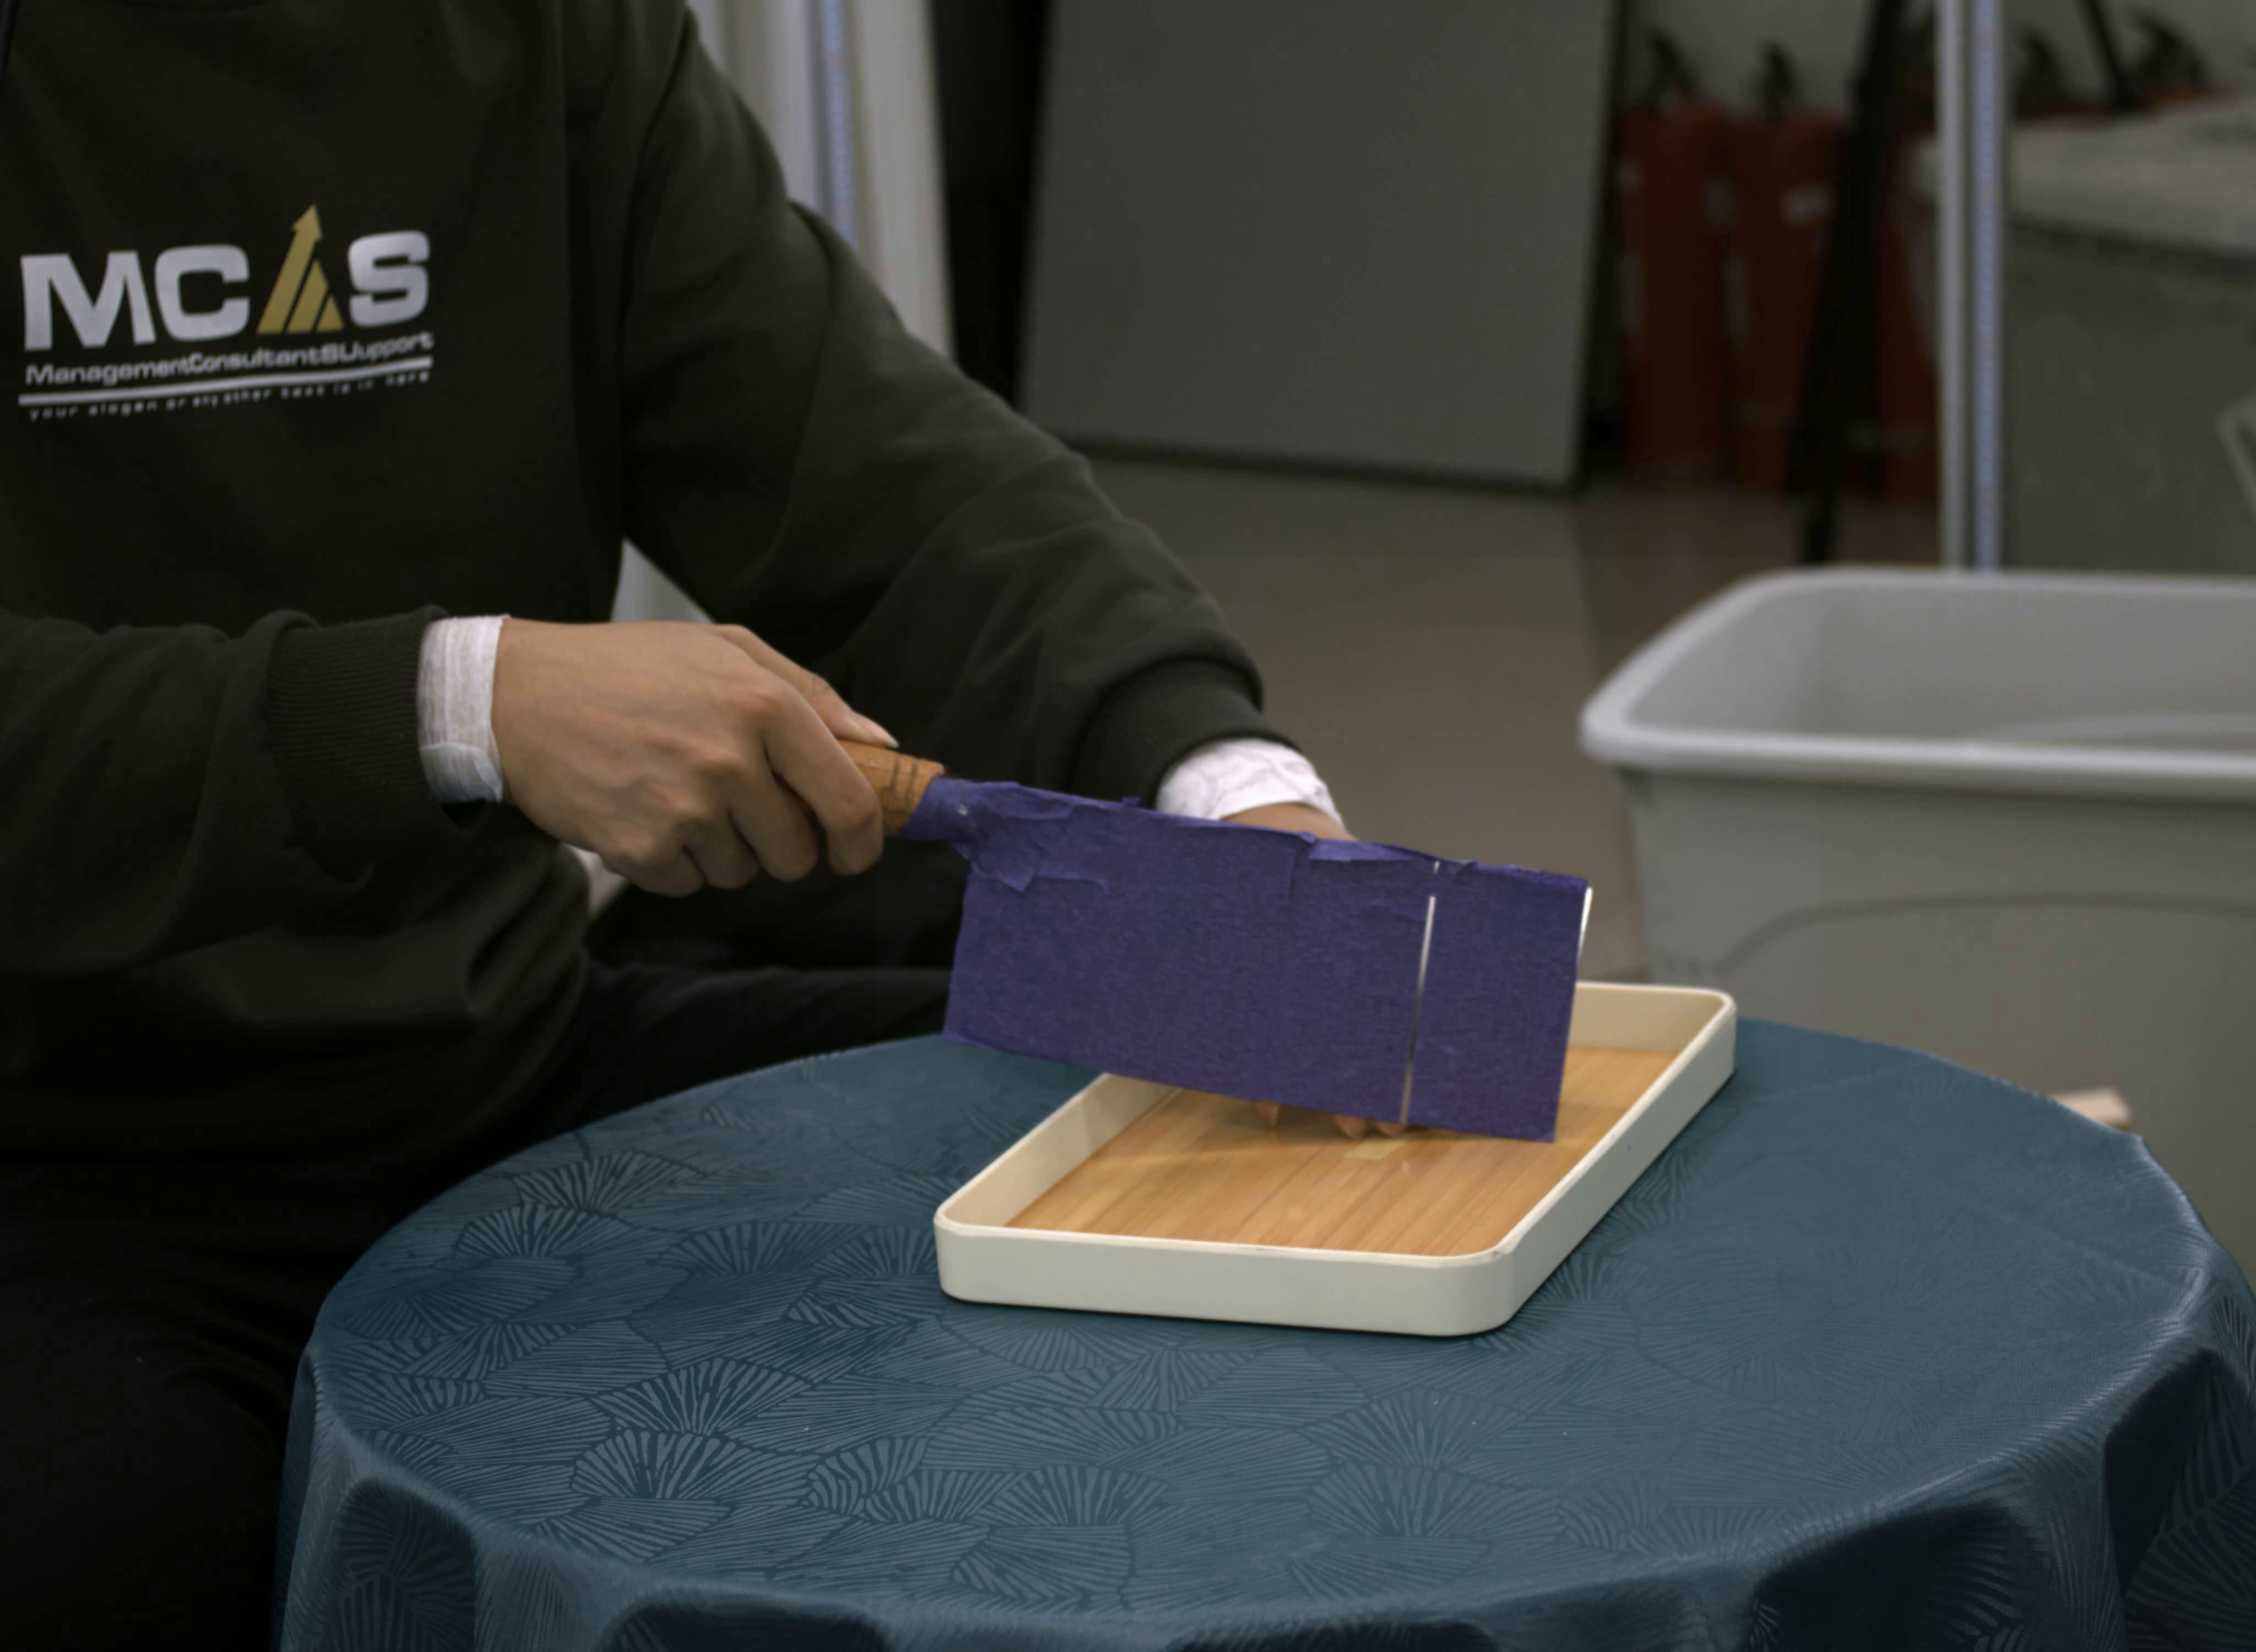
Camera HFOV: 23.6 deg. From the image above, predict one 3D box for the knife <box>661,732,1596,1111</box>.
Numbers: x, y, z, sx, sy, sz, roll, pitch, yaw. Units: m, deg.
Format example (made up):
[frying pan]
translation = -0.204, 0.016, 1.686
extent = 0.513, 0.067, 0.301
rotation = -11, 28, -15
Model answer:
[knife]
translation = -0.004, 0.035, 1.780
extent = 0.312, 0.105, 0.032
rotation = 9, 4, 7

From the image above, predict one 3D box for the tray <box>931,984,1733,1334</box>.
[tray]
translation = 0.074, 0.103, 1.769
extent = 0.191, 0.028, 0.297
rotation = 1, 14, 23
